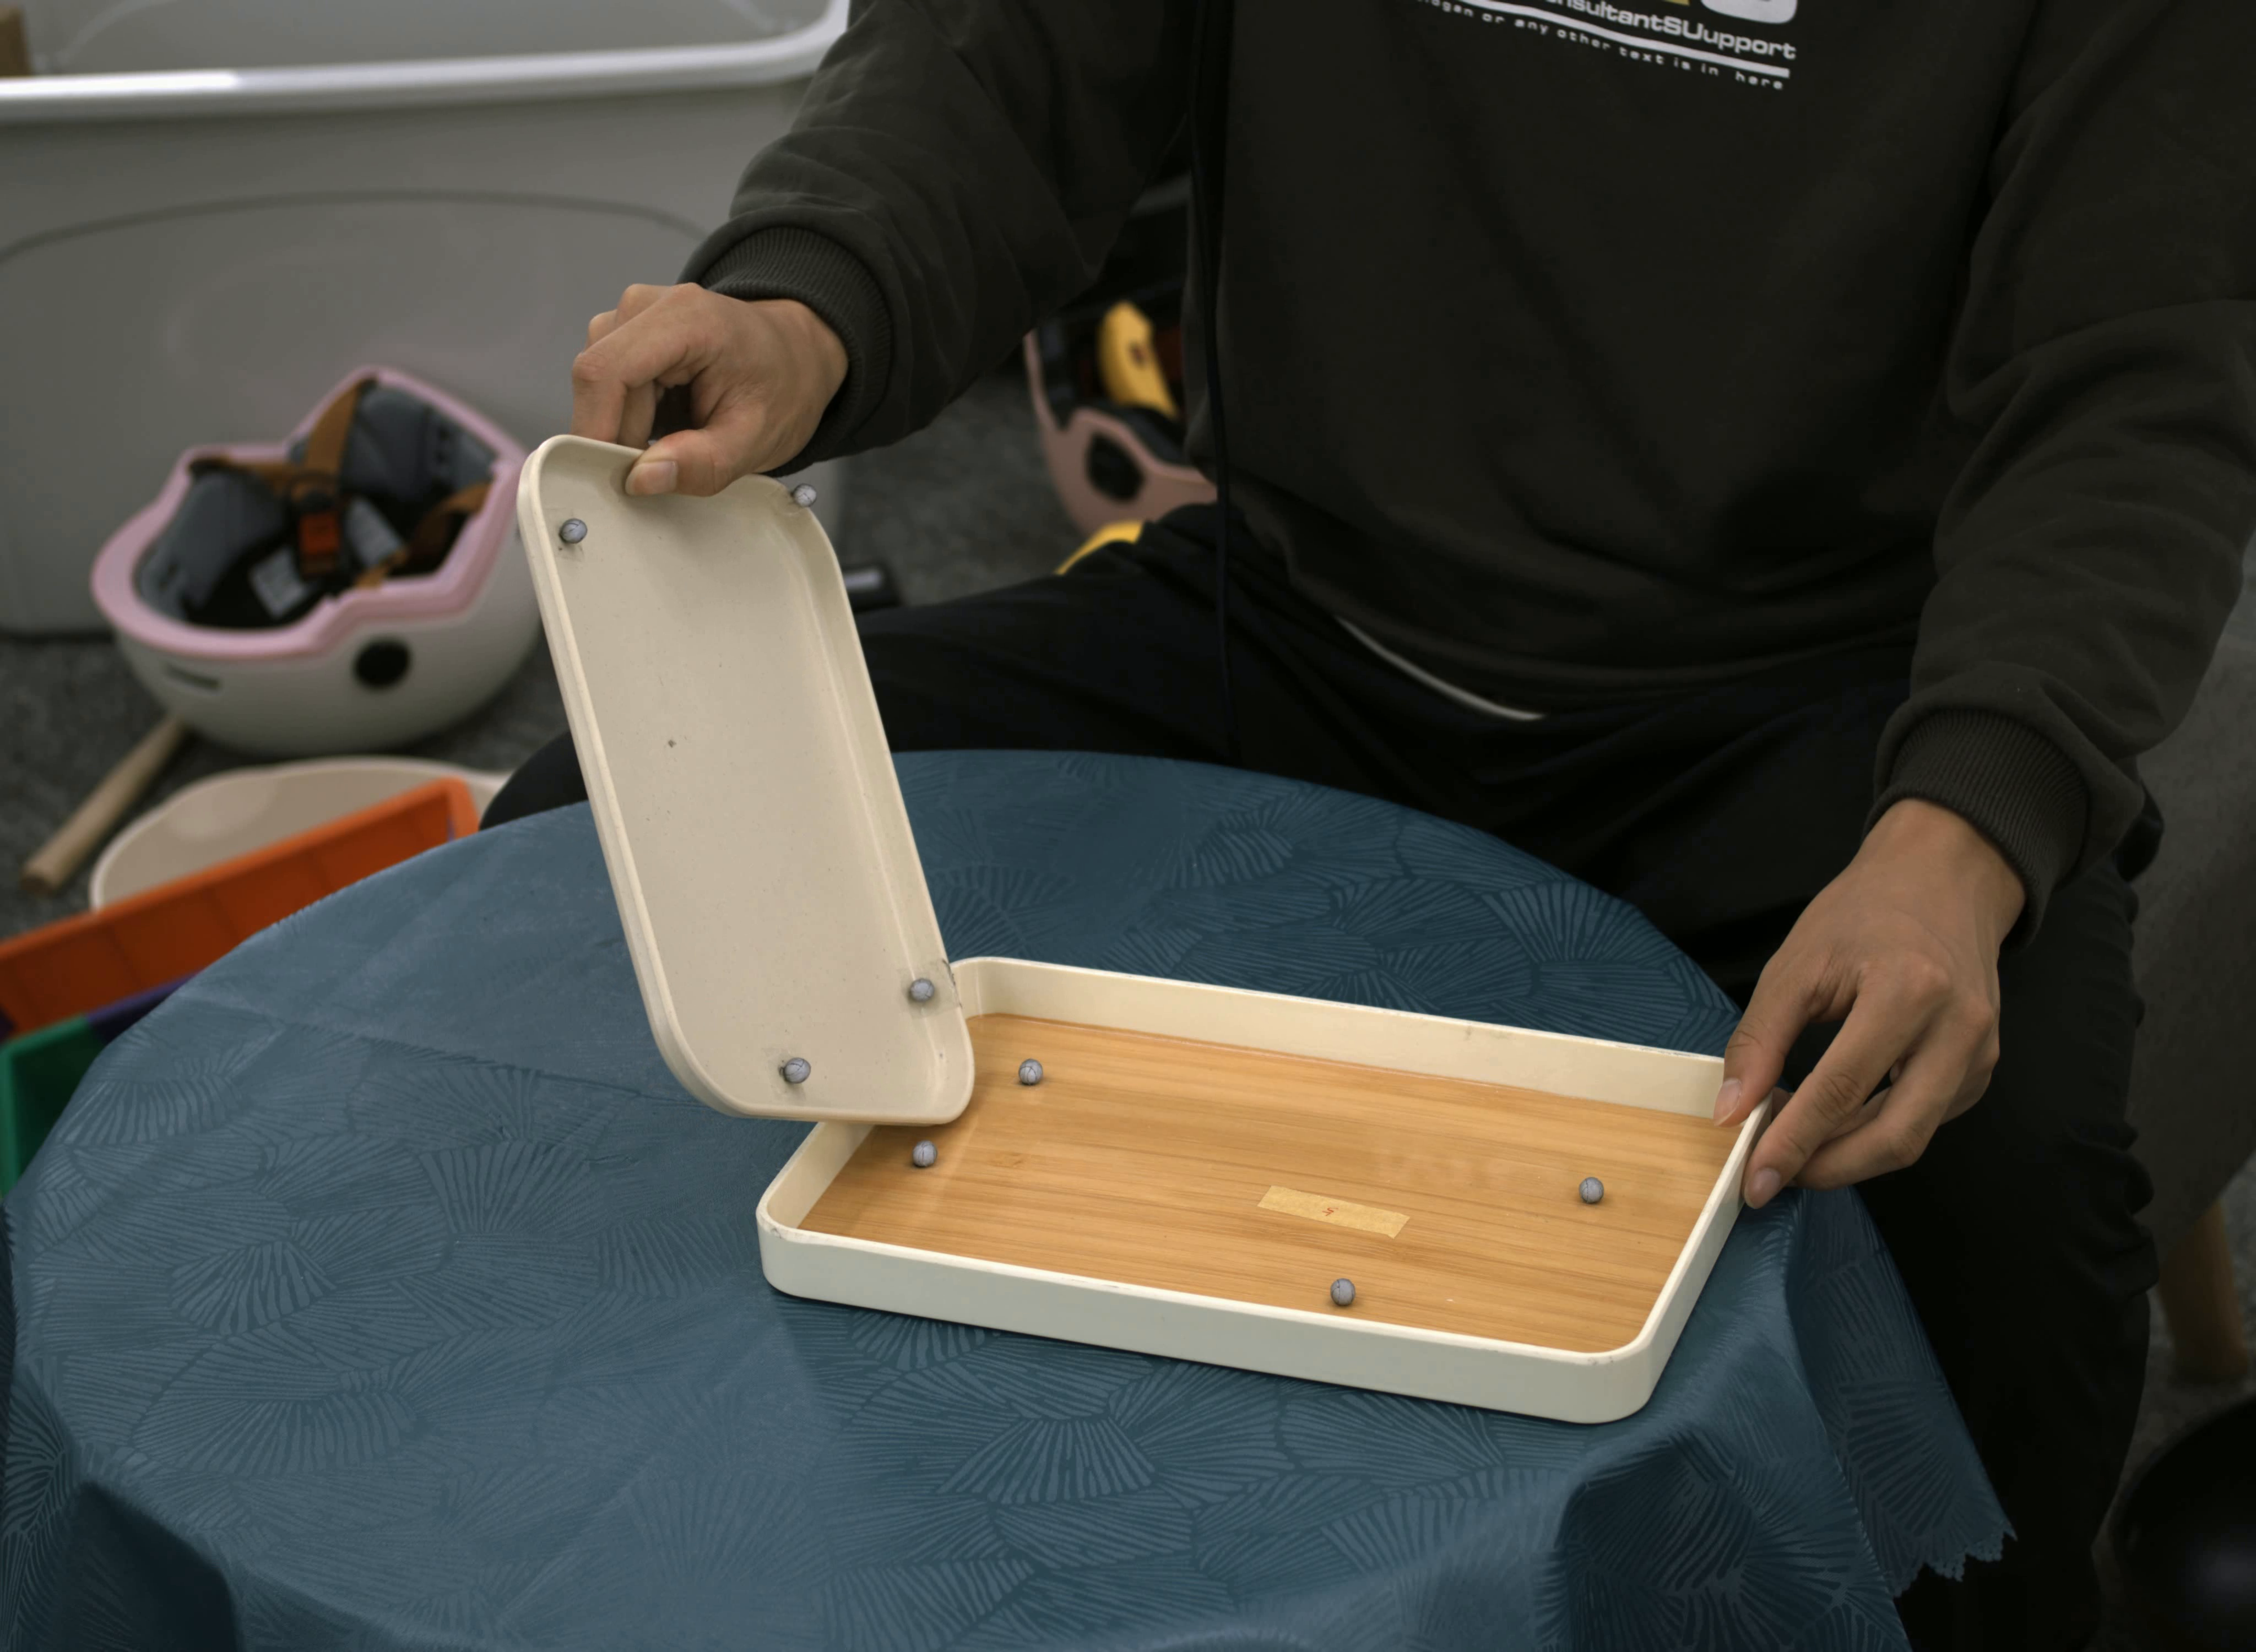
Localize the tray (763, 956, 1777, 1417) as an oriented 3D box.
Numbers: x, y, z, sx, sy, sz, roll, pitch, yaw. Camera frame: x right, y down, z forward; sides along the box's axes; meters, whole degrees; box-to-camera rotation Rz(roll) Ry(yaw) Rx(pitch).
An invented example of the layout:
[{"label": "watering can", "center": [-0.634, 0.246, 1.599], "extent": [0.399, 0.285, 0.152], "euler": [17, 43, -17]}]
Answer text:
[{"label": "tray", "center": [0.048, 0.115, 1.846], "extent": [0.298, 0.027, 0.195], "euler": [7, 29, 18]}]

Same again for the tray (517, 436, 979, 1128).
[{"label": "tray", "center": [-0.128, -0.012, 1.879], "extent": [0.017, 0.242, 0.171], "euler": [-25, -18, 29]}]
